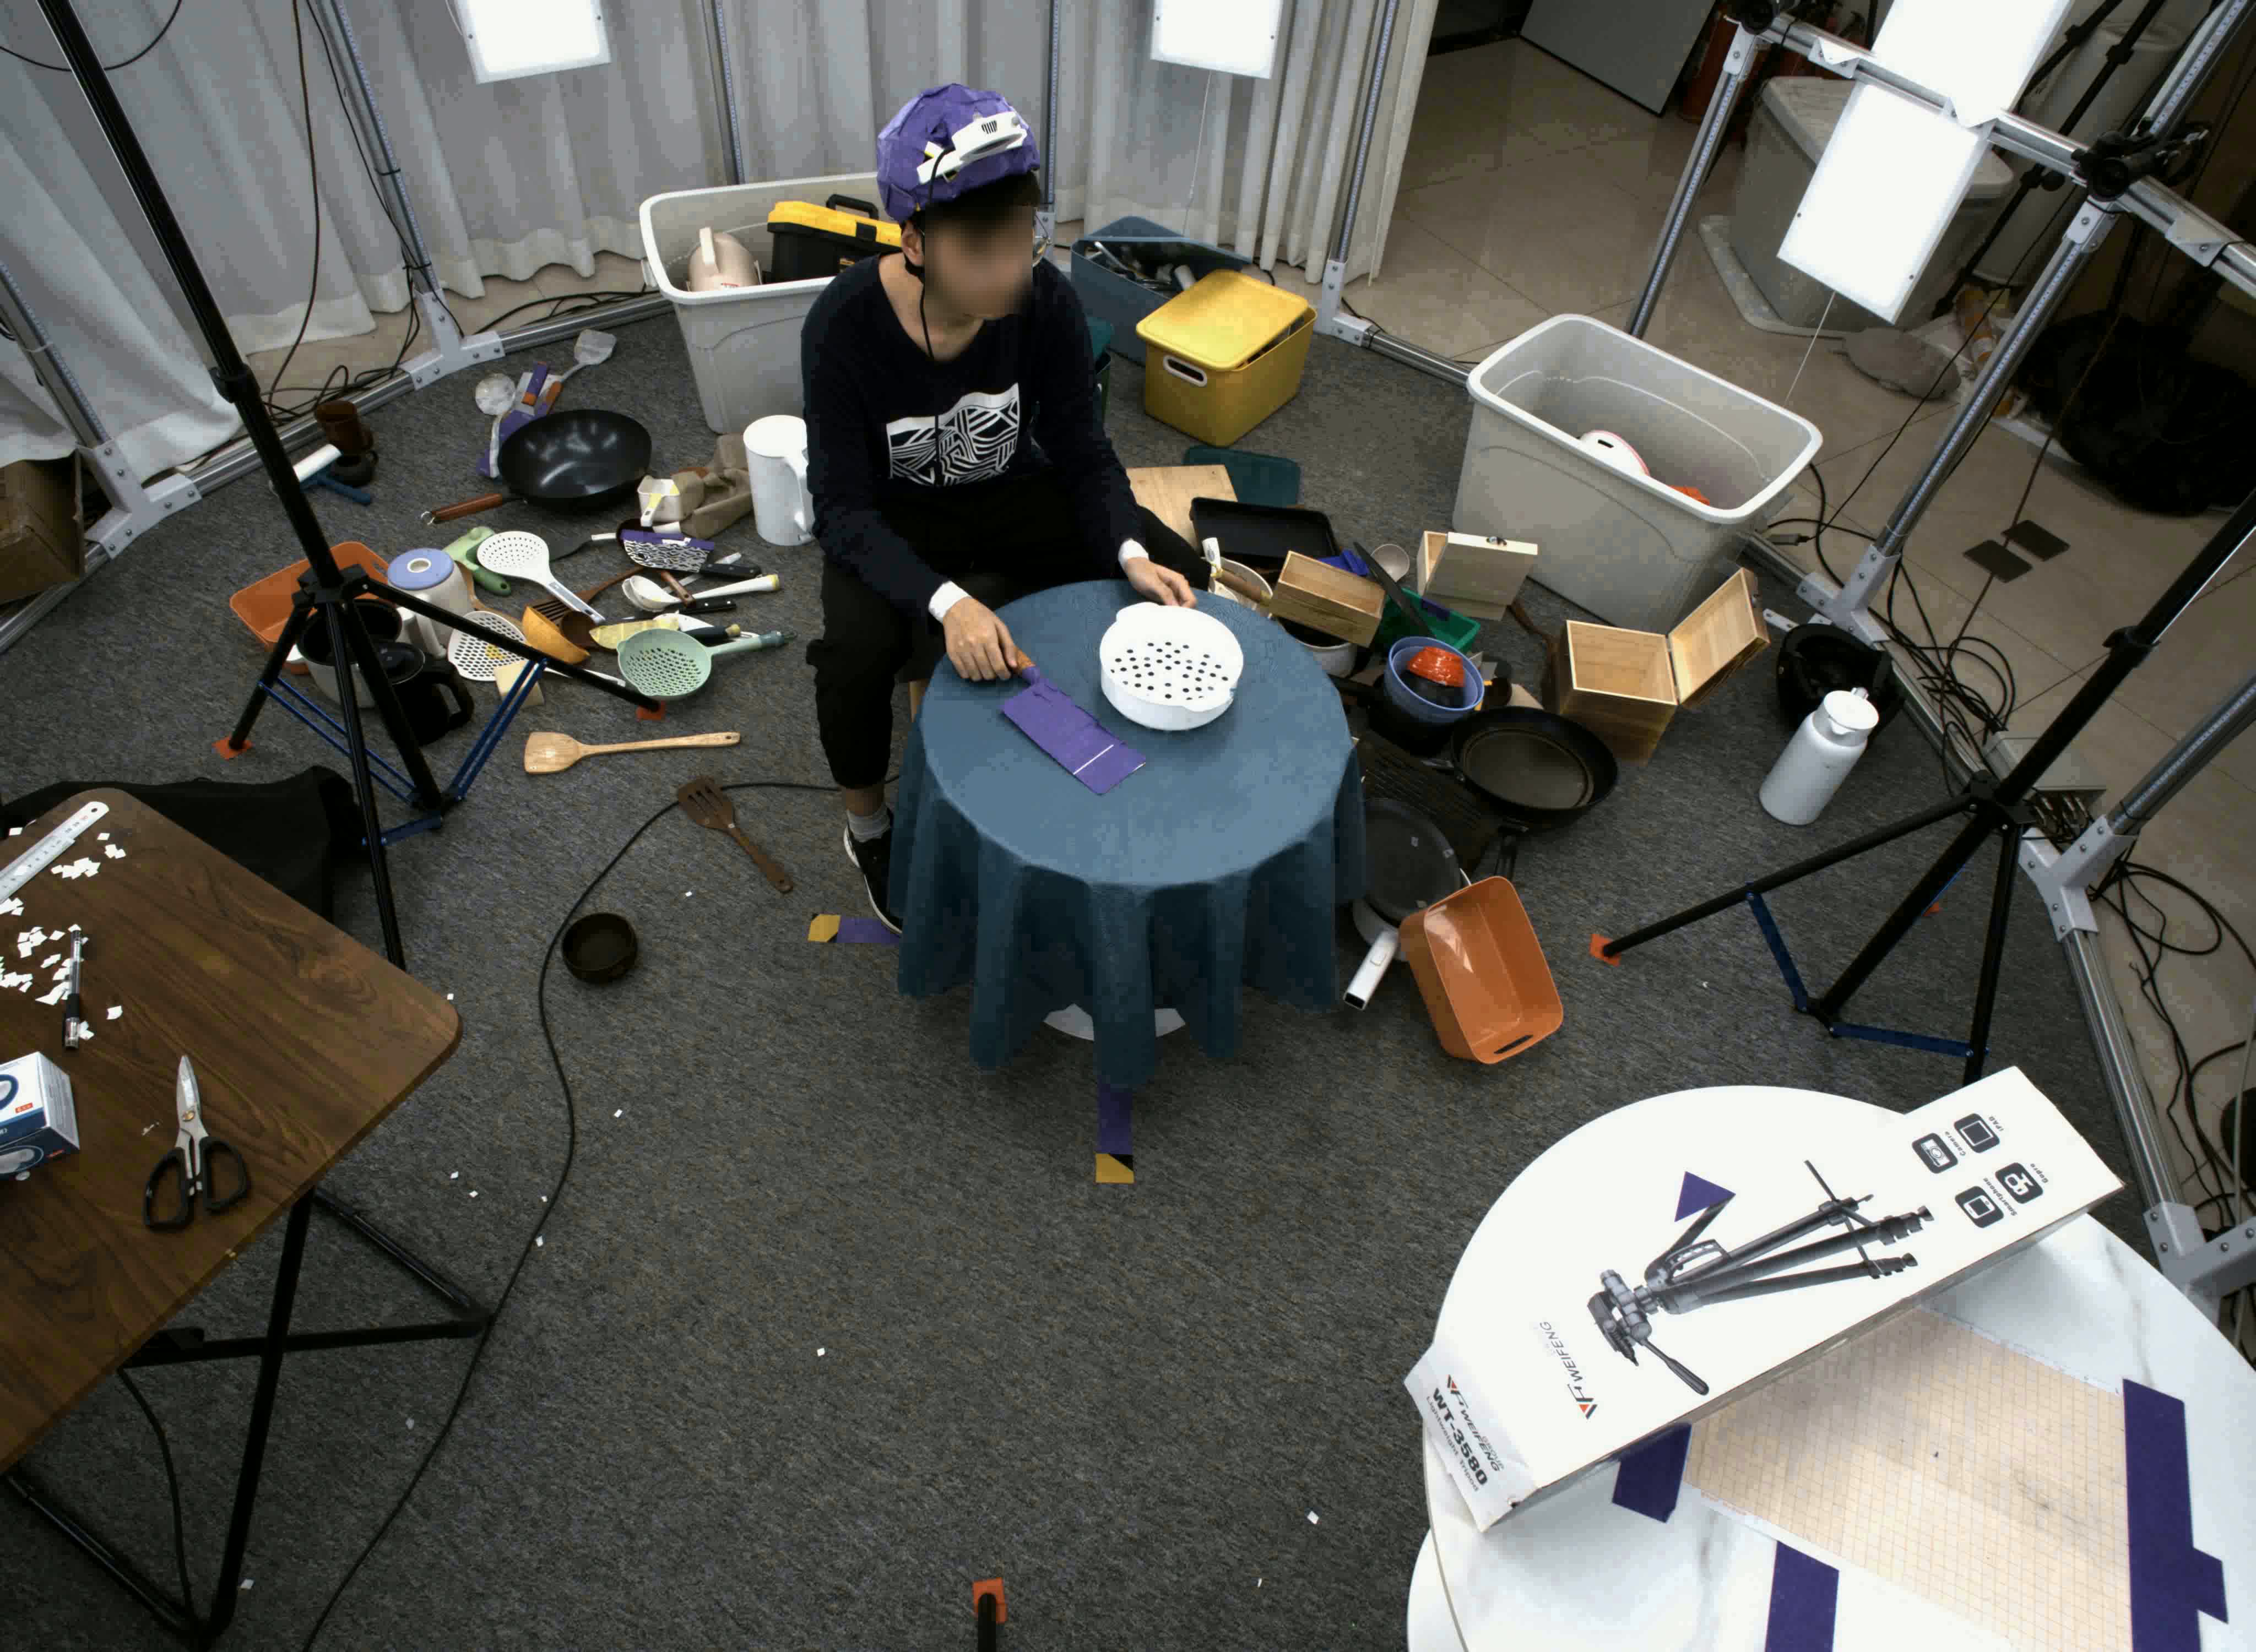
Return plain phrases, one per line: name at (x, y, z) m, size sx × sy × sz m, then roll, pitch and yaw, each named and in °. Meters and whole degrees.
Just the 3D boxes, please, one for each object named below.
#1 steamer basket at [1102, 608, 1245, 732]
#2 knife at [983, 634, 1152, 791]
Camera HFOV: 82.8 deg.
steamer basket at (0.062, -0.219, 1.819) m, size 0.202 × 0.067 × 0.236 m, roll -19°, pitch 50°, yaw -21°
knife at (-0.111, -0.161, 1.782) m, size 0.105 × 0.031 × 0.320 m, roll -35°, pitch 60°, yaw -29°
